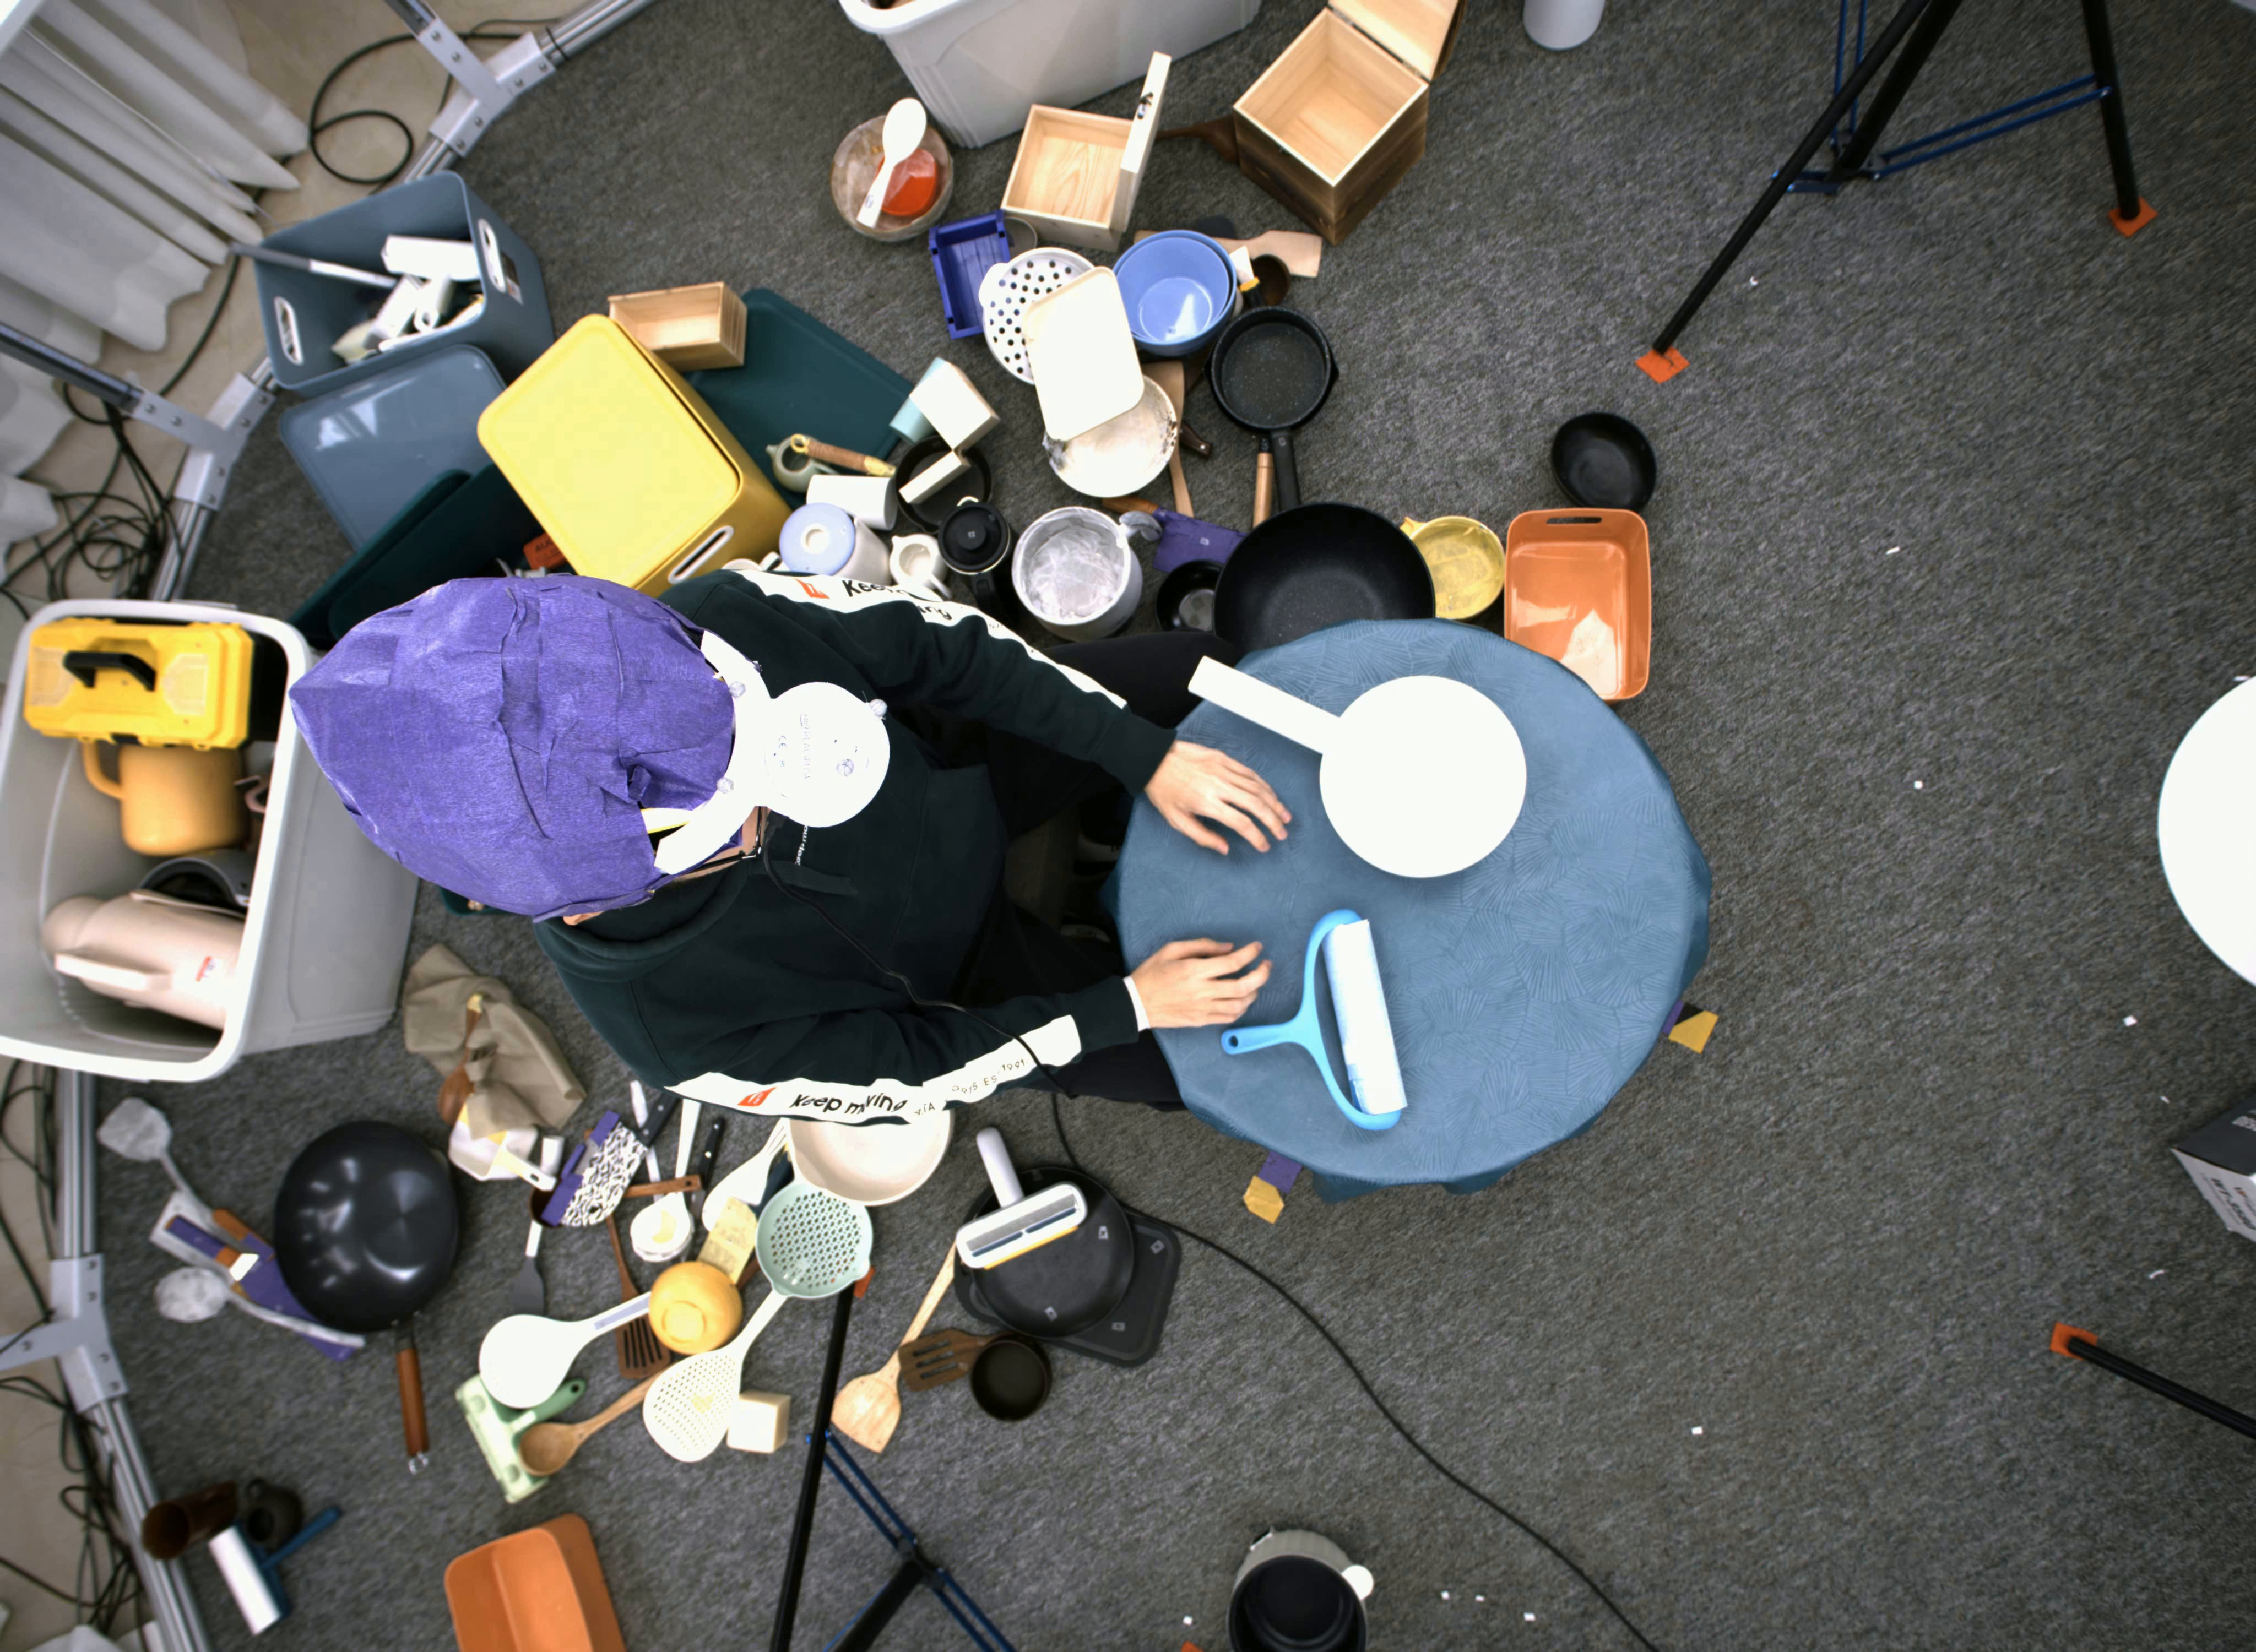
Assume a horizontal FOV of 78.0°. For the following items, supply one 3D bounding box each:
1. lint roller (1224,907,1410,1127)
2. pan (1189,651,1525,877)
[{"bbox_3d":[0.186,0.210,1.435,0.181,0.068,0.228,-15,86,8],"label":"lint roller"},{"bbox_3d":[0.231,-0.081,1.421,0.354,0.102,0.201,26,92,11],"label":"pan"}]
